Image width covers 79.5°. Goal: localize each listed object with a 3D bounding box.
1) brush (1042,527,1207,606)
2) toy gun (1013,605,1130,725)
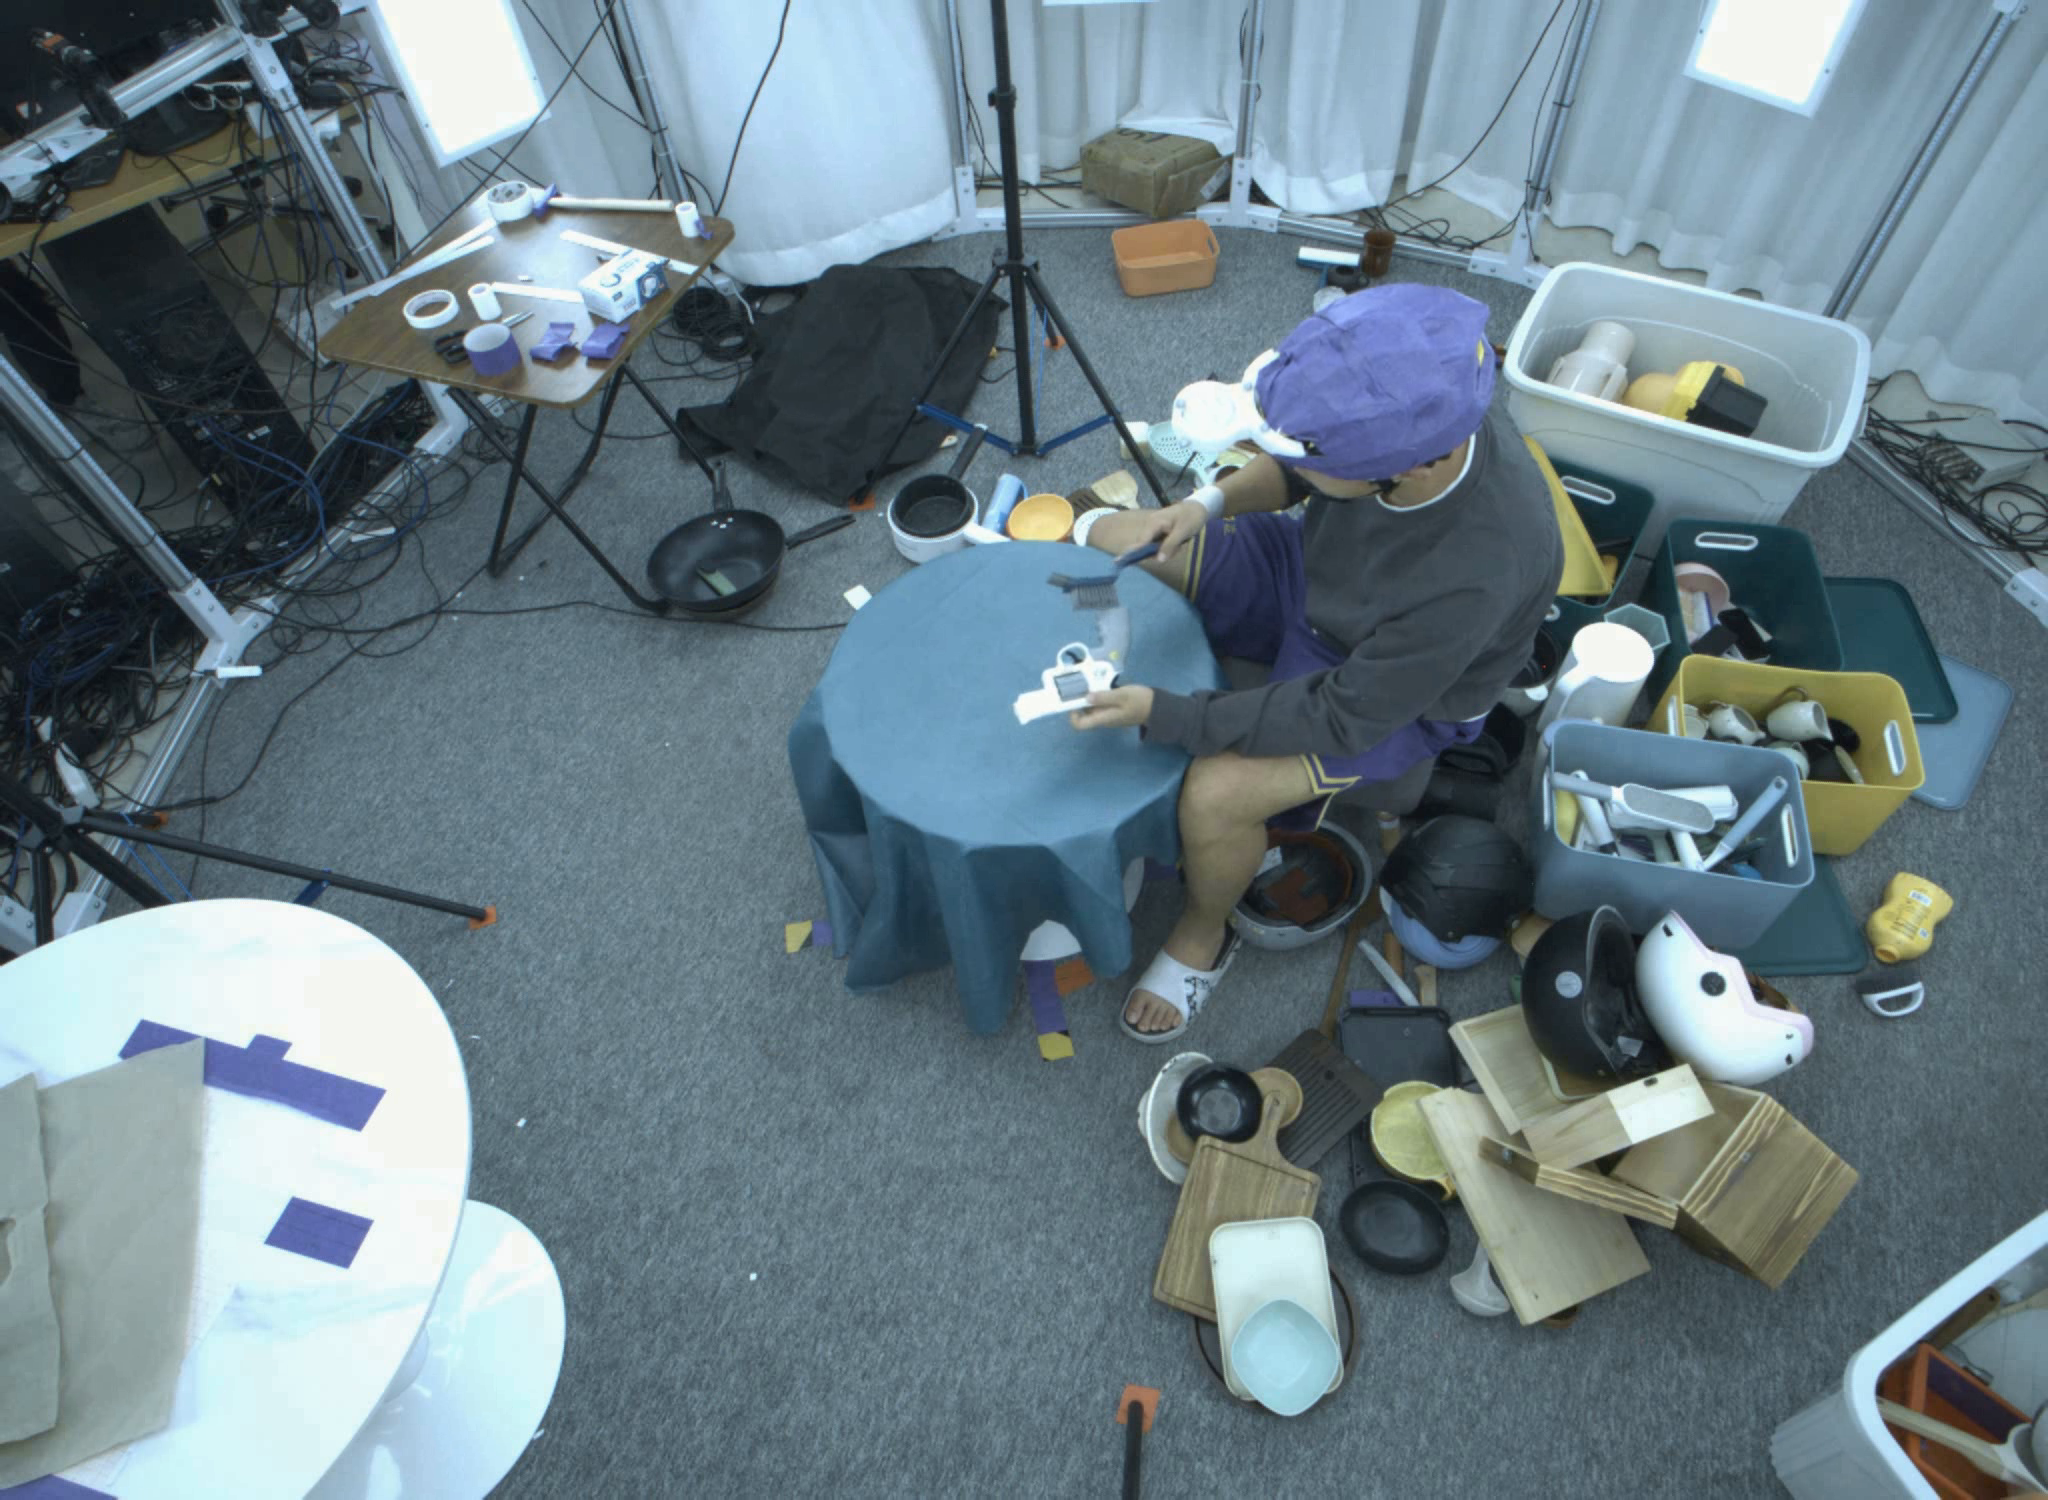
[{"bbox_3d":[0.153,-0.283,1.785,0.276,0.033,0.095,-35,84,-30],"label":"brush"},{"bbox_3d":[0.070,-0.120,1.719,0.211,0.039,0.140,-14,73,-17],"label":"toy gun"}]
